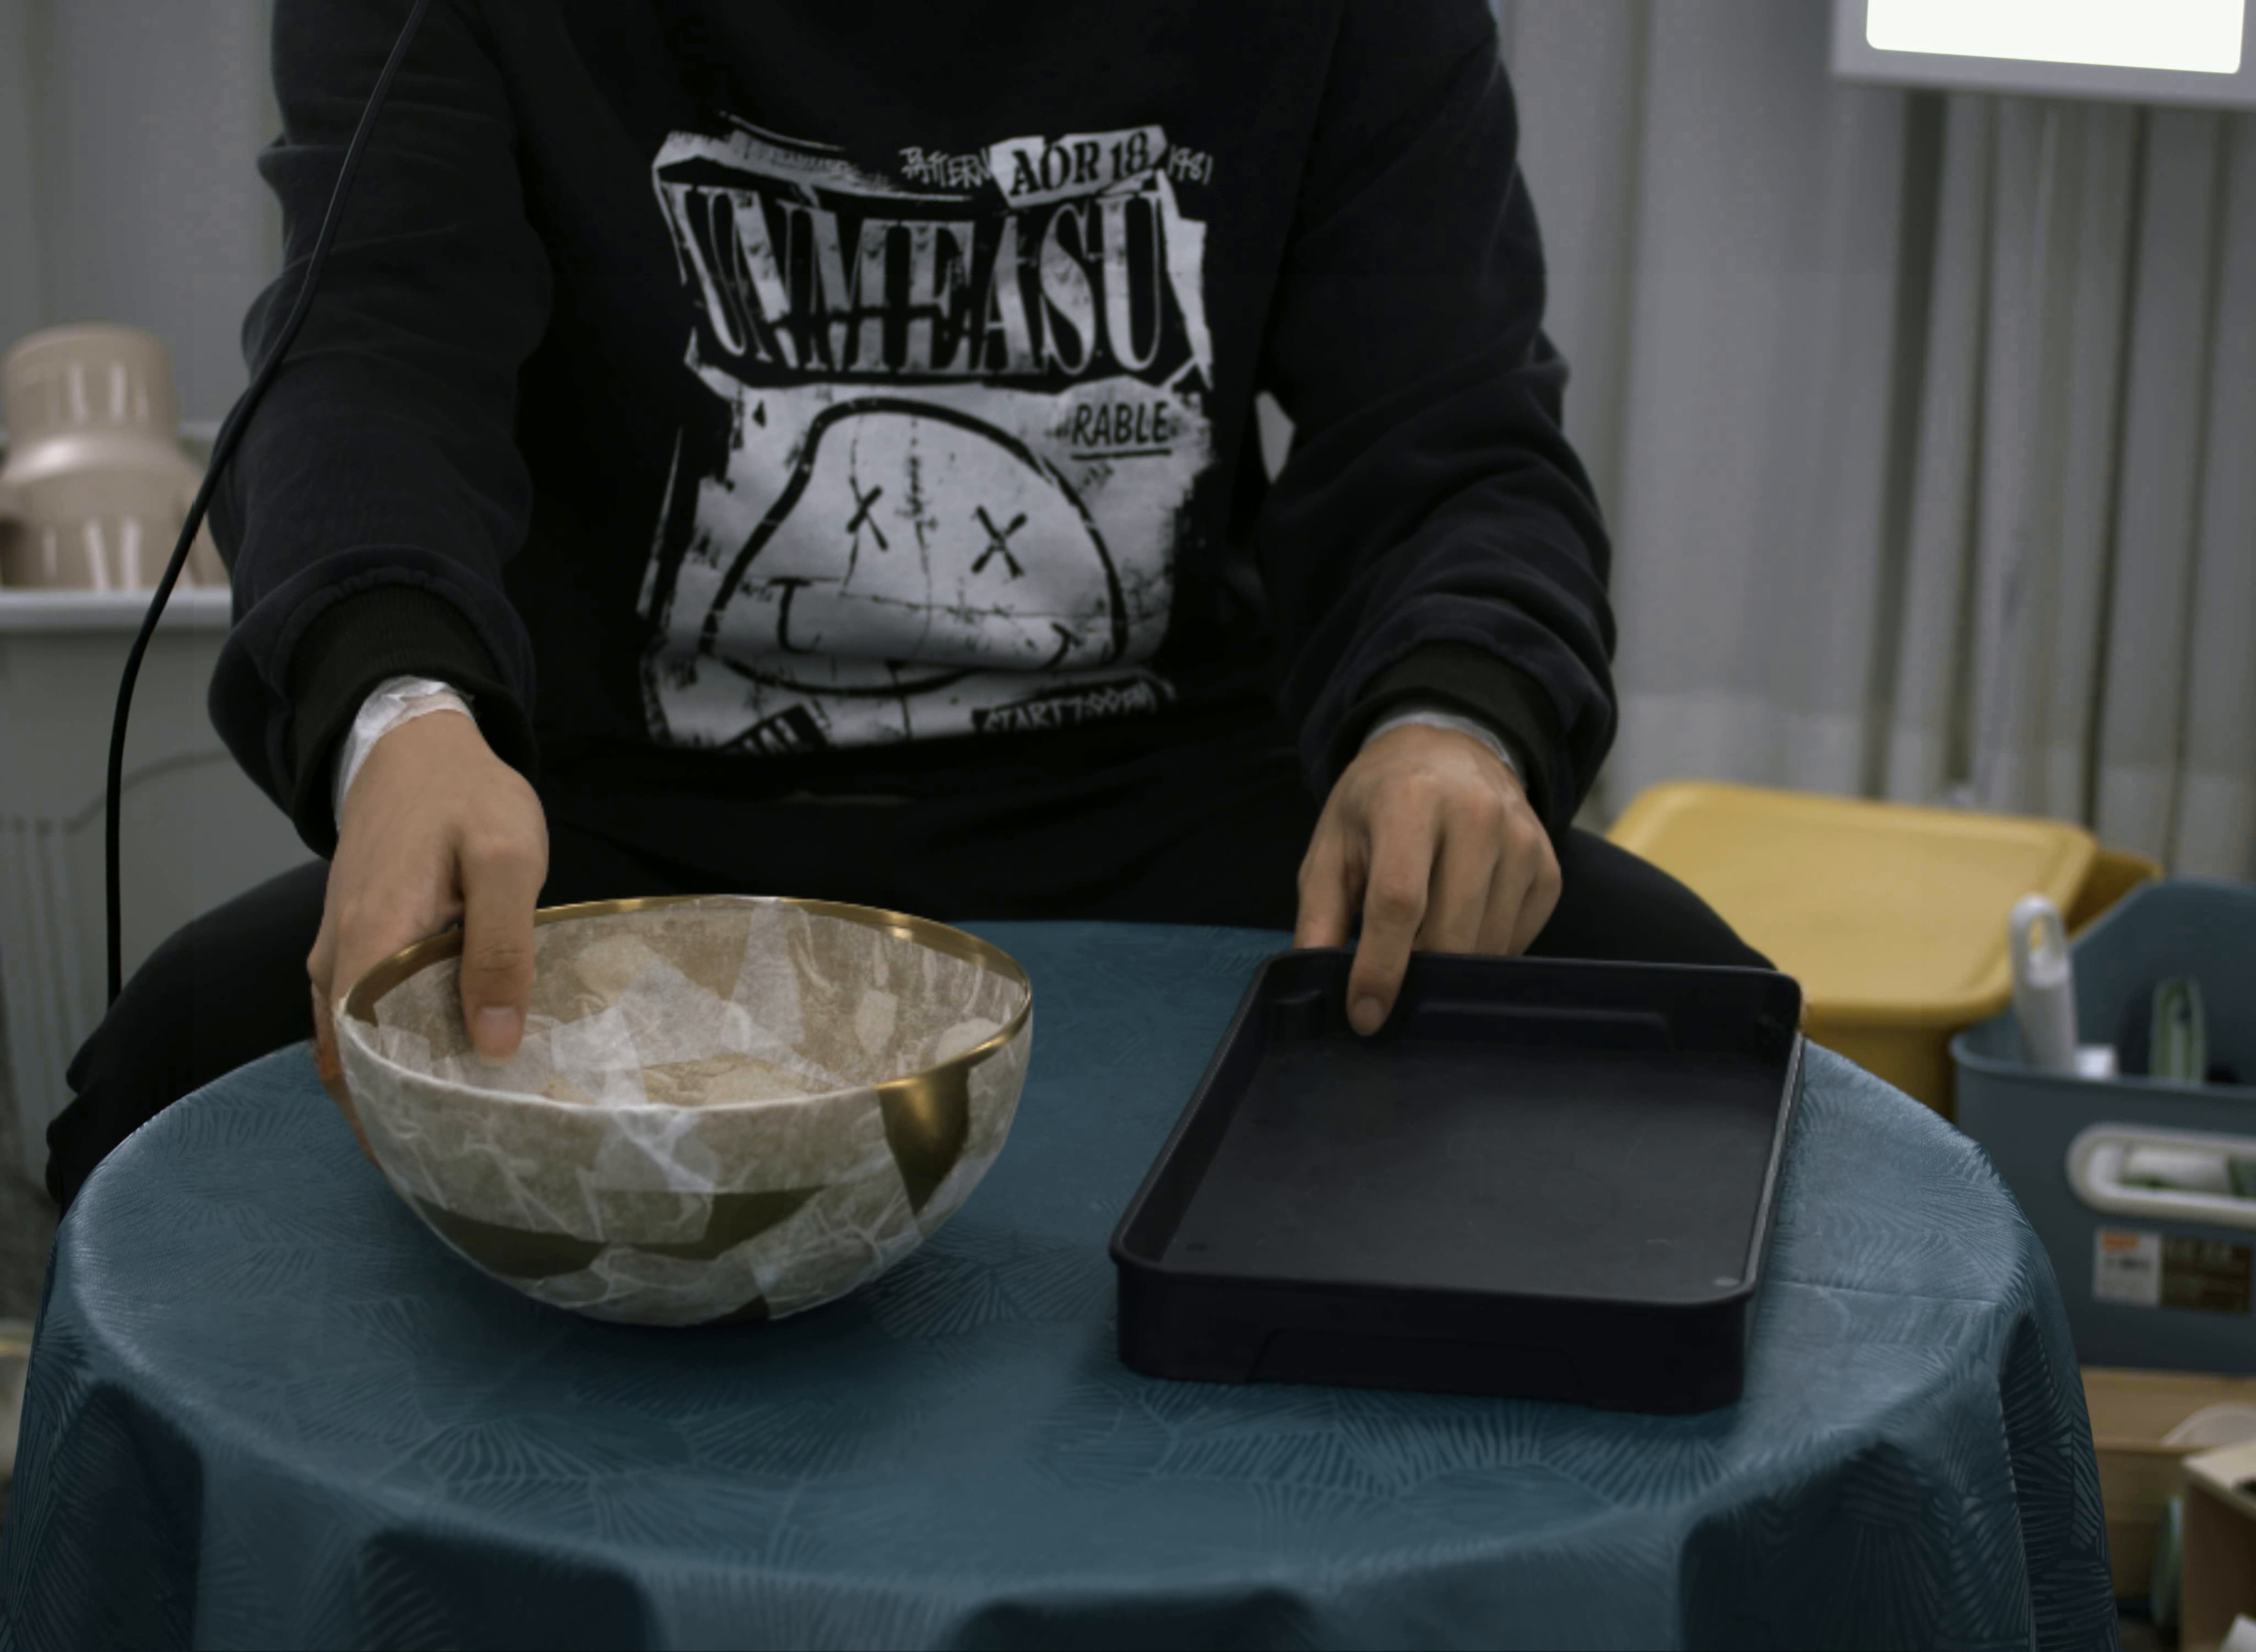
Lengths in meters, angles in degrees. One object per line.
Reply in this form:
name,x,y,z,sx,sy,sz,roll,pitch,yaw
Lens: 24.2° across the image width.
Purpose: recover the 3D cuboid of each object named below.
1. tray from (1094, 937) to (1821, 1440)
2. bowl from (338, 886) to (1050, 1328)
tray,0.108,0.103,1.605,0.183,0.037,0.317,4,18,11
bowl,-0.123,0.090,1.531,0.214,0.095,0.213,0,17,1
